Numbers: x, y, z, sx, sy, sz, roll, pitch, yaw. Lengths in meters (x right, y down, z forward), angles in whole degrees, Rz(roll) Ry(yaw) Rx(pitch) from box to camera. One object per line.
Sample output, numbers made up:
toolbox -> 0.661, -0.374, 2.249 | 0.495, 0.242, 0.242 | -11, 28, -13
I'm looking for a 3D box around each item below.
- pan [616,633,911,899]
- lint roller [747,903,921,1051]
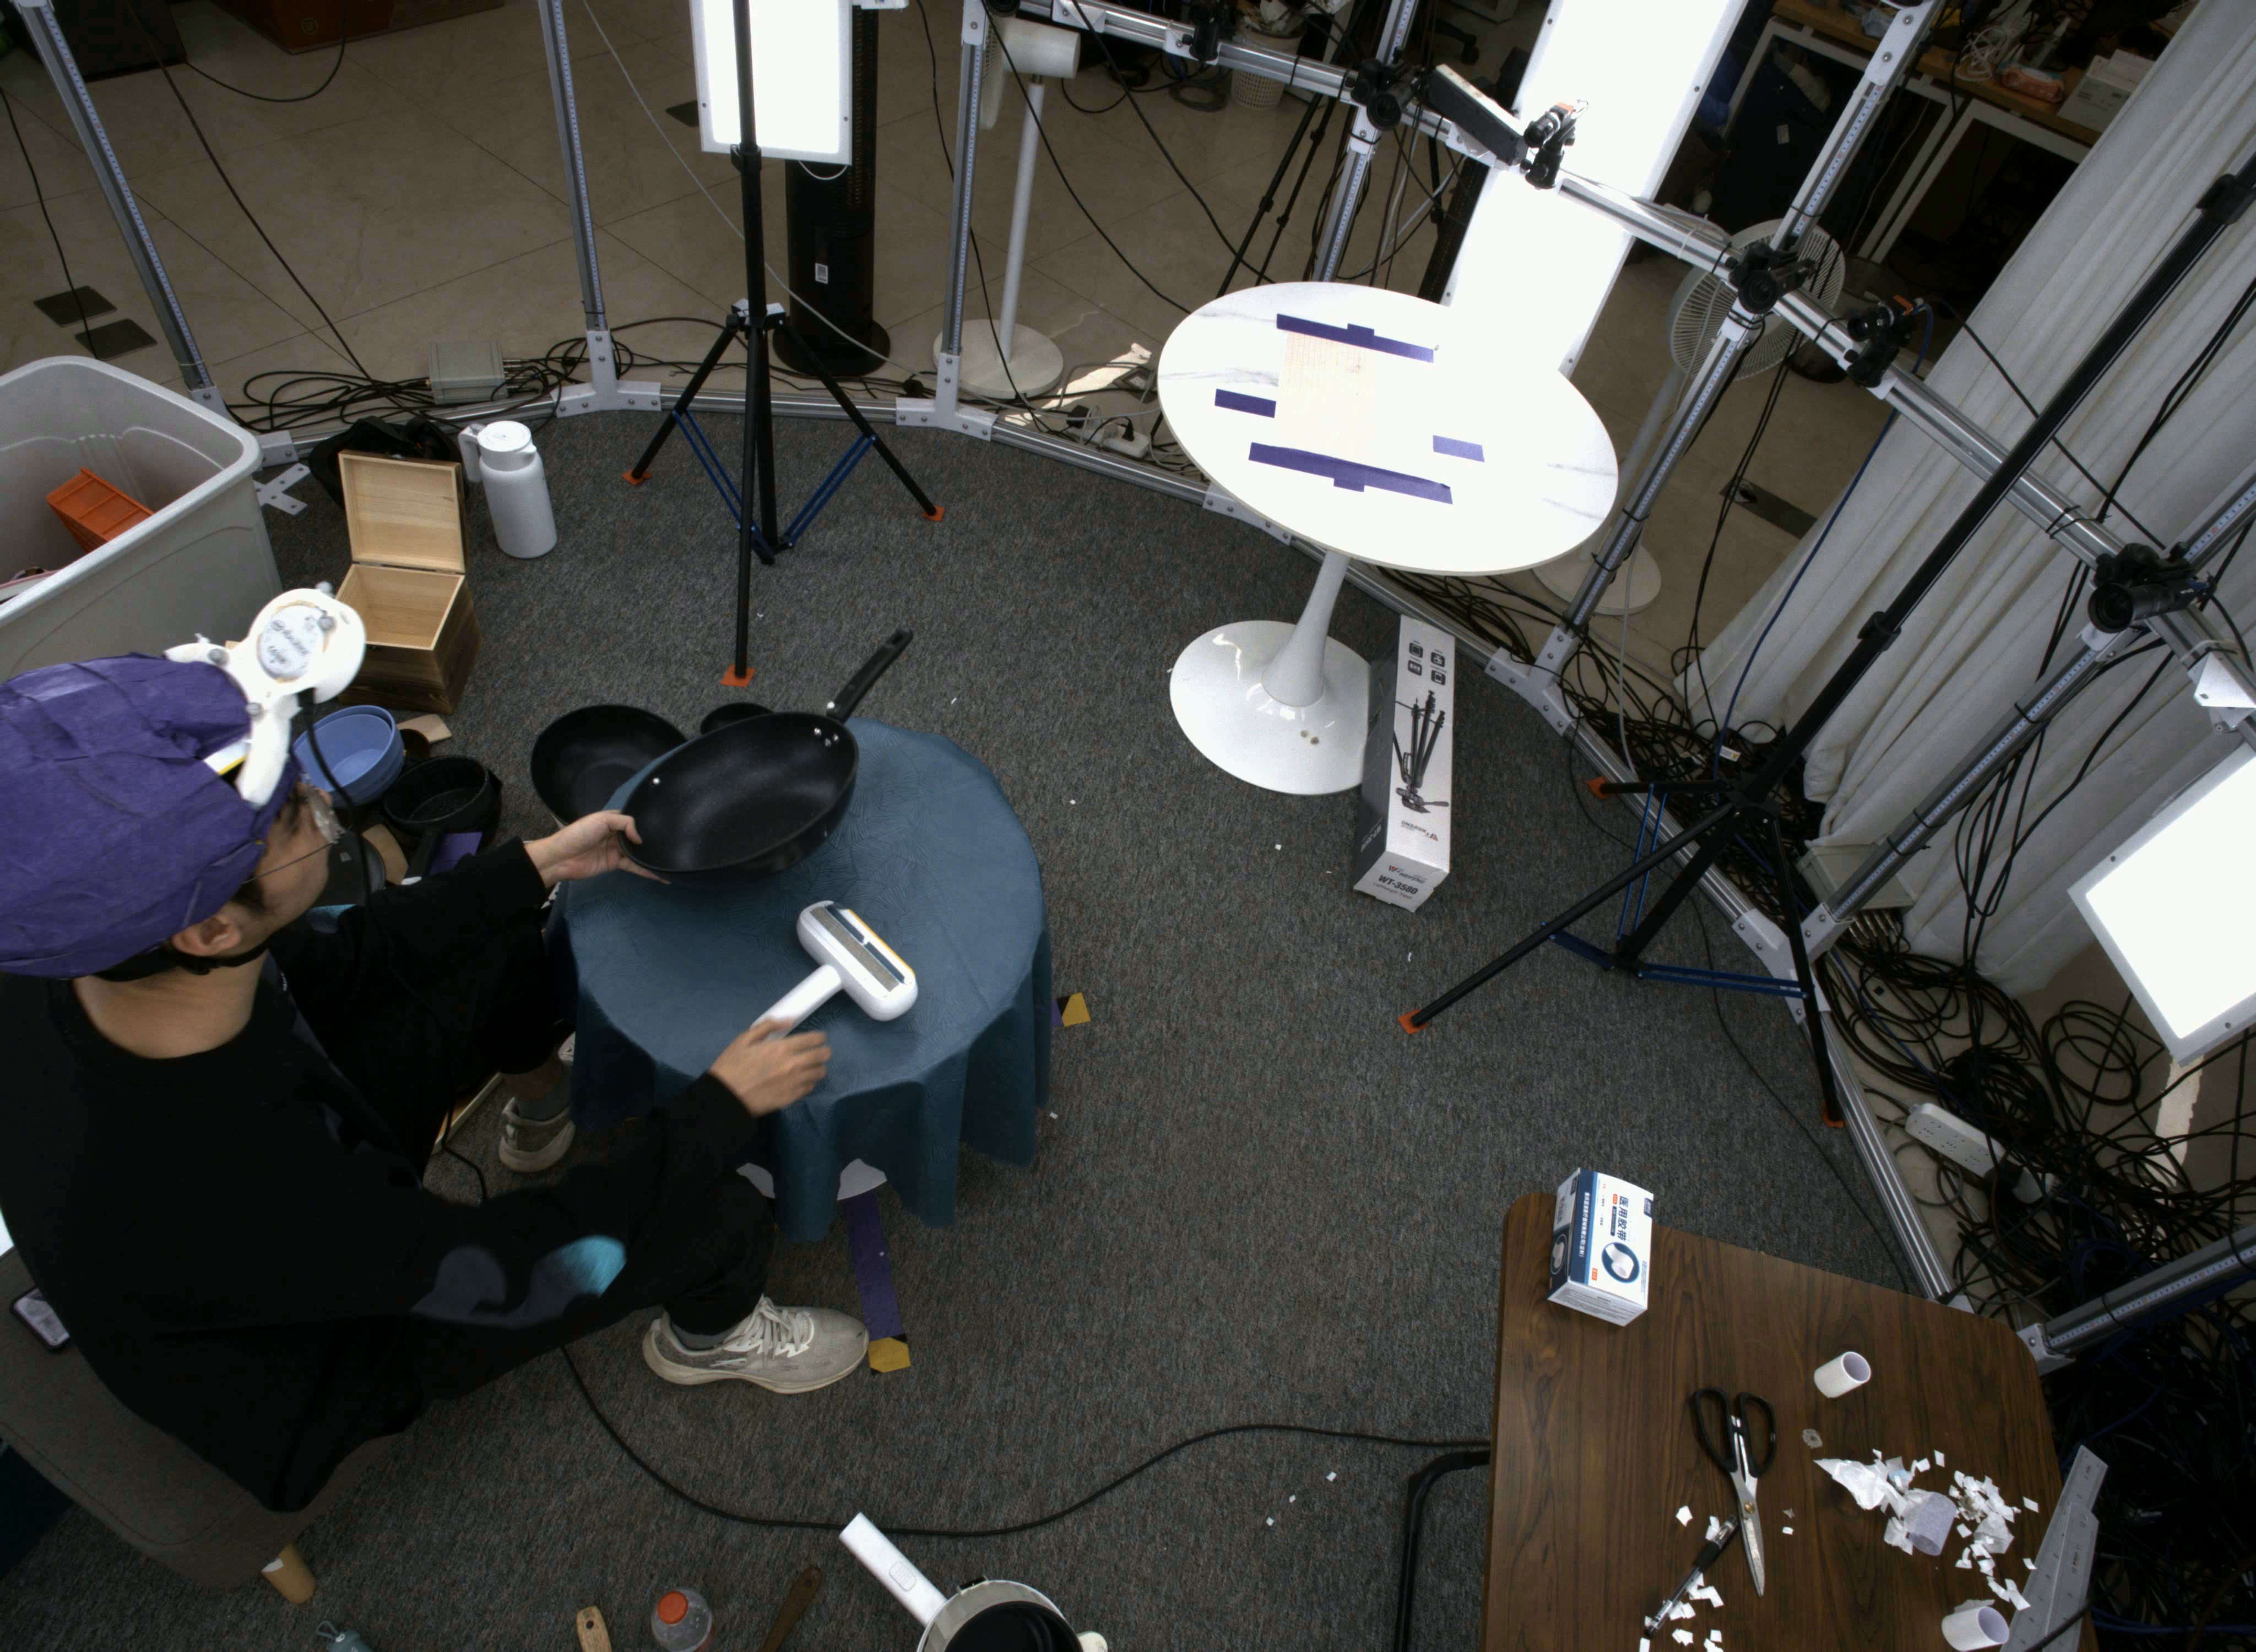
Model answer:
pan -> -0.429, -0.072, 1.645 | 0.299, 0.116, 0.476 | 21, 51, 31
lint roller -> -0.371, 0.195, 1.556 | 0.193, 0.076, 0.187 | -30, 61, -29
